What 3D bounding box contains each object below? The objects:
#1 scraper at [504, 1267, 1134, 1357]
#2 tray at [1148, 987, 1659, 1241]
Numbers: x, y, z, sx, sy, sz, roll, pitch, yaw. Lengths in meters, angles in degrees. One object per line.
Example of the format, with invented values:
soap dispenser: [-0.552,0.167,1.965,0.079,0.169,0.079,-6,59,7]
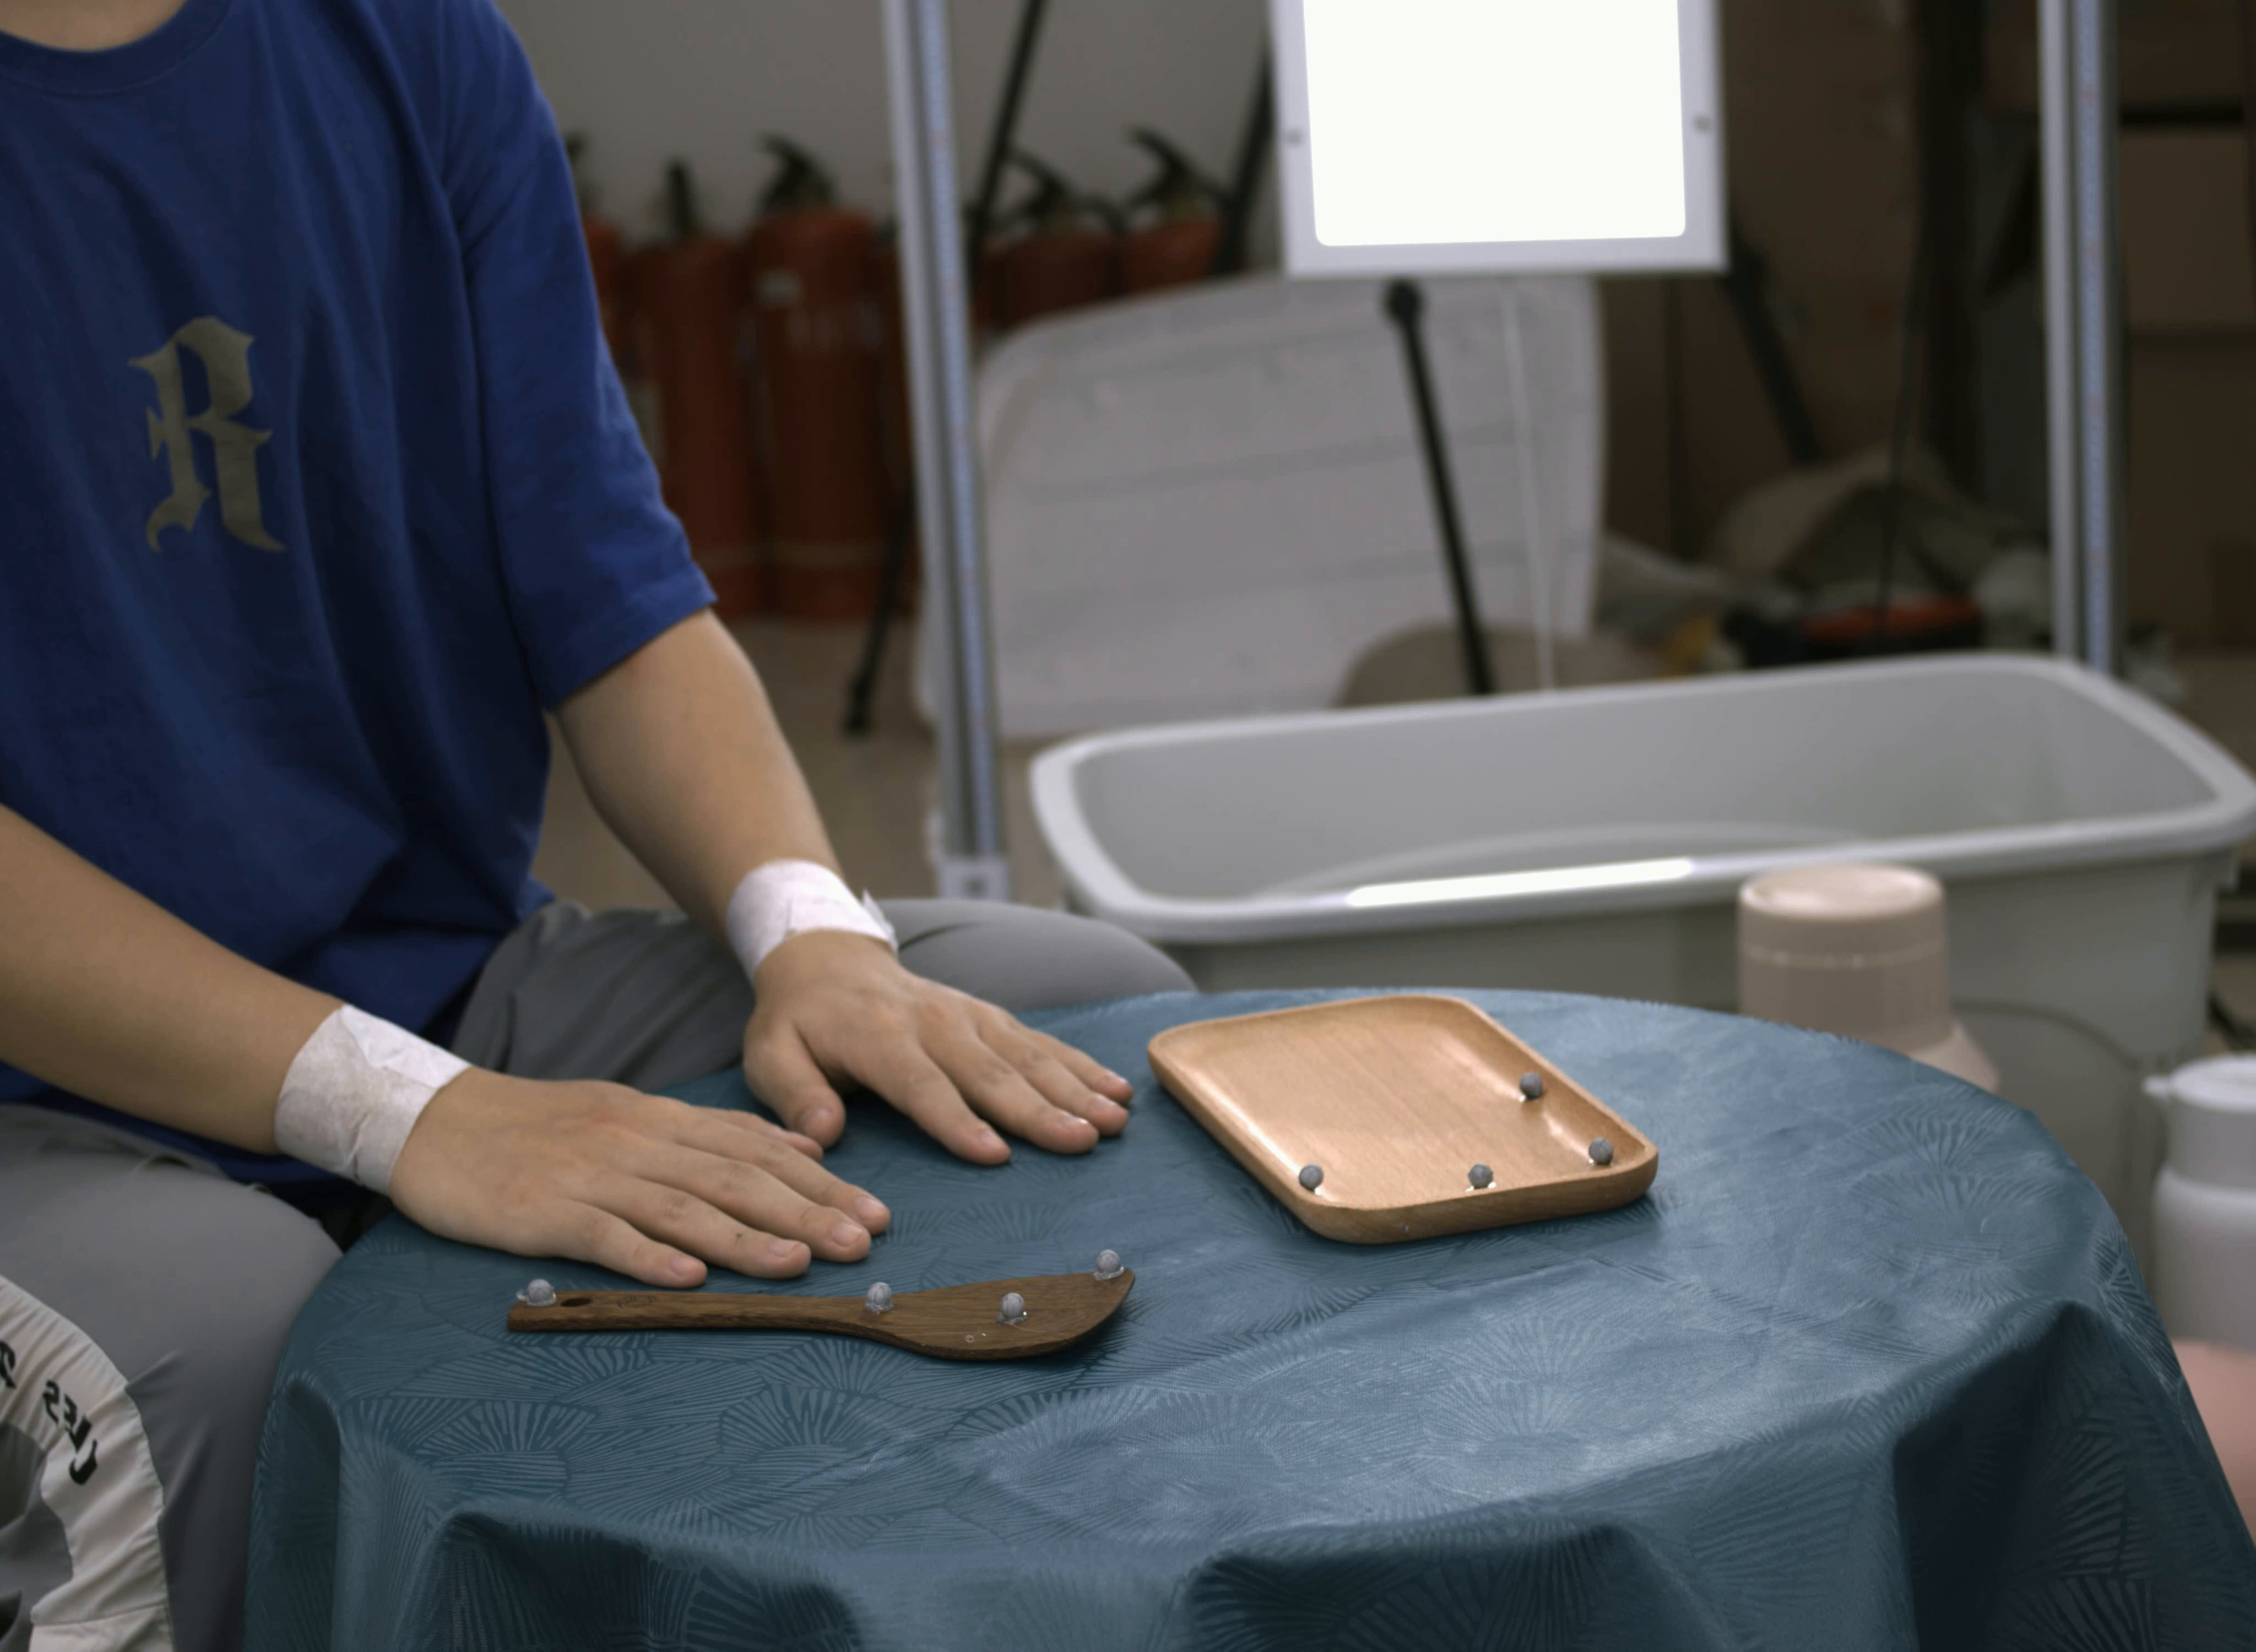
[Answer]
scraper: [-0.103,0.157,1.789,0.214,0.011,0.074,-1,13,19]
tray: [0.093,0.099,1.937,0.129,0.023,0.252,-5,13,-12]
